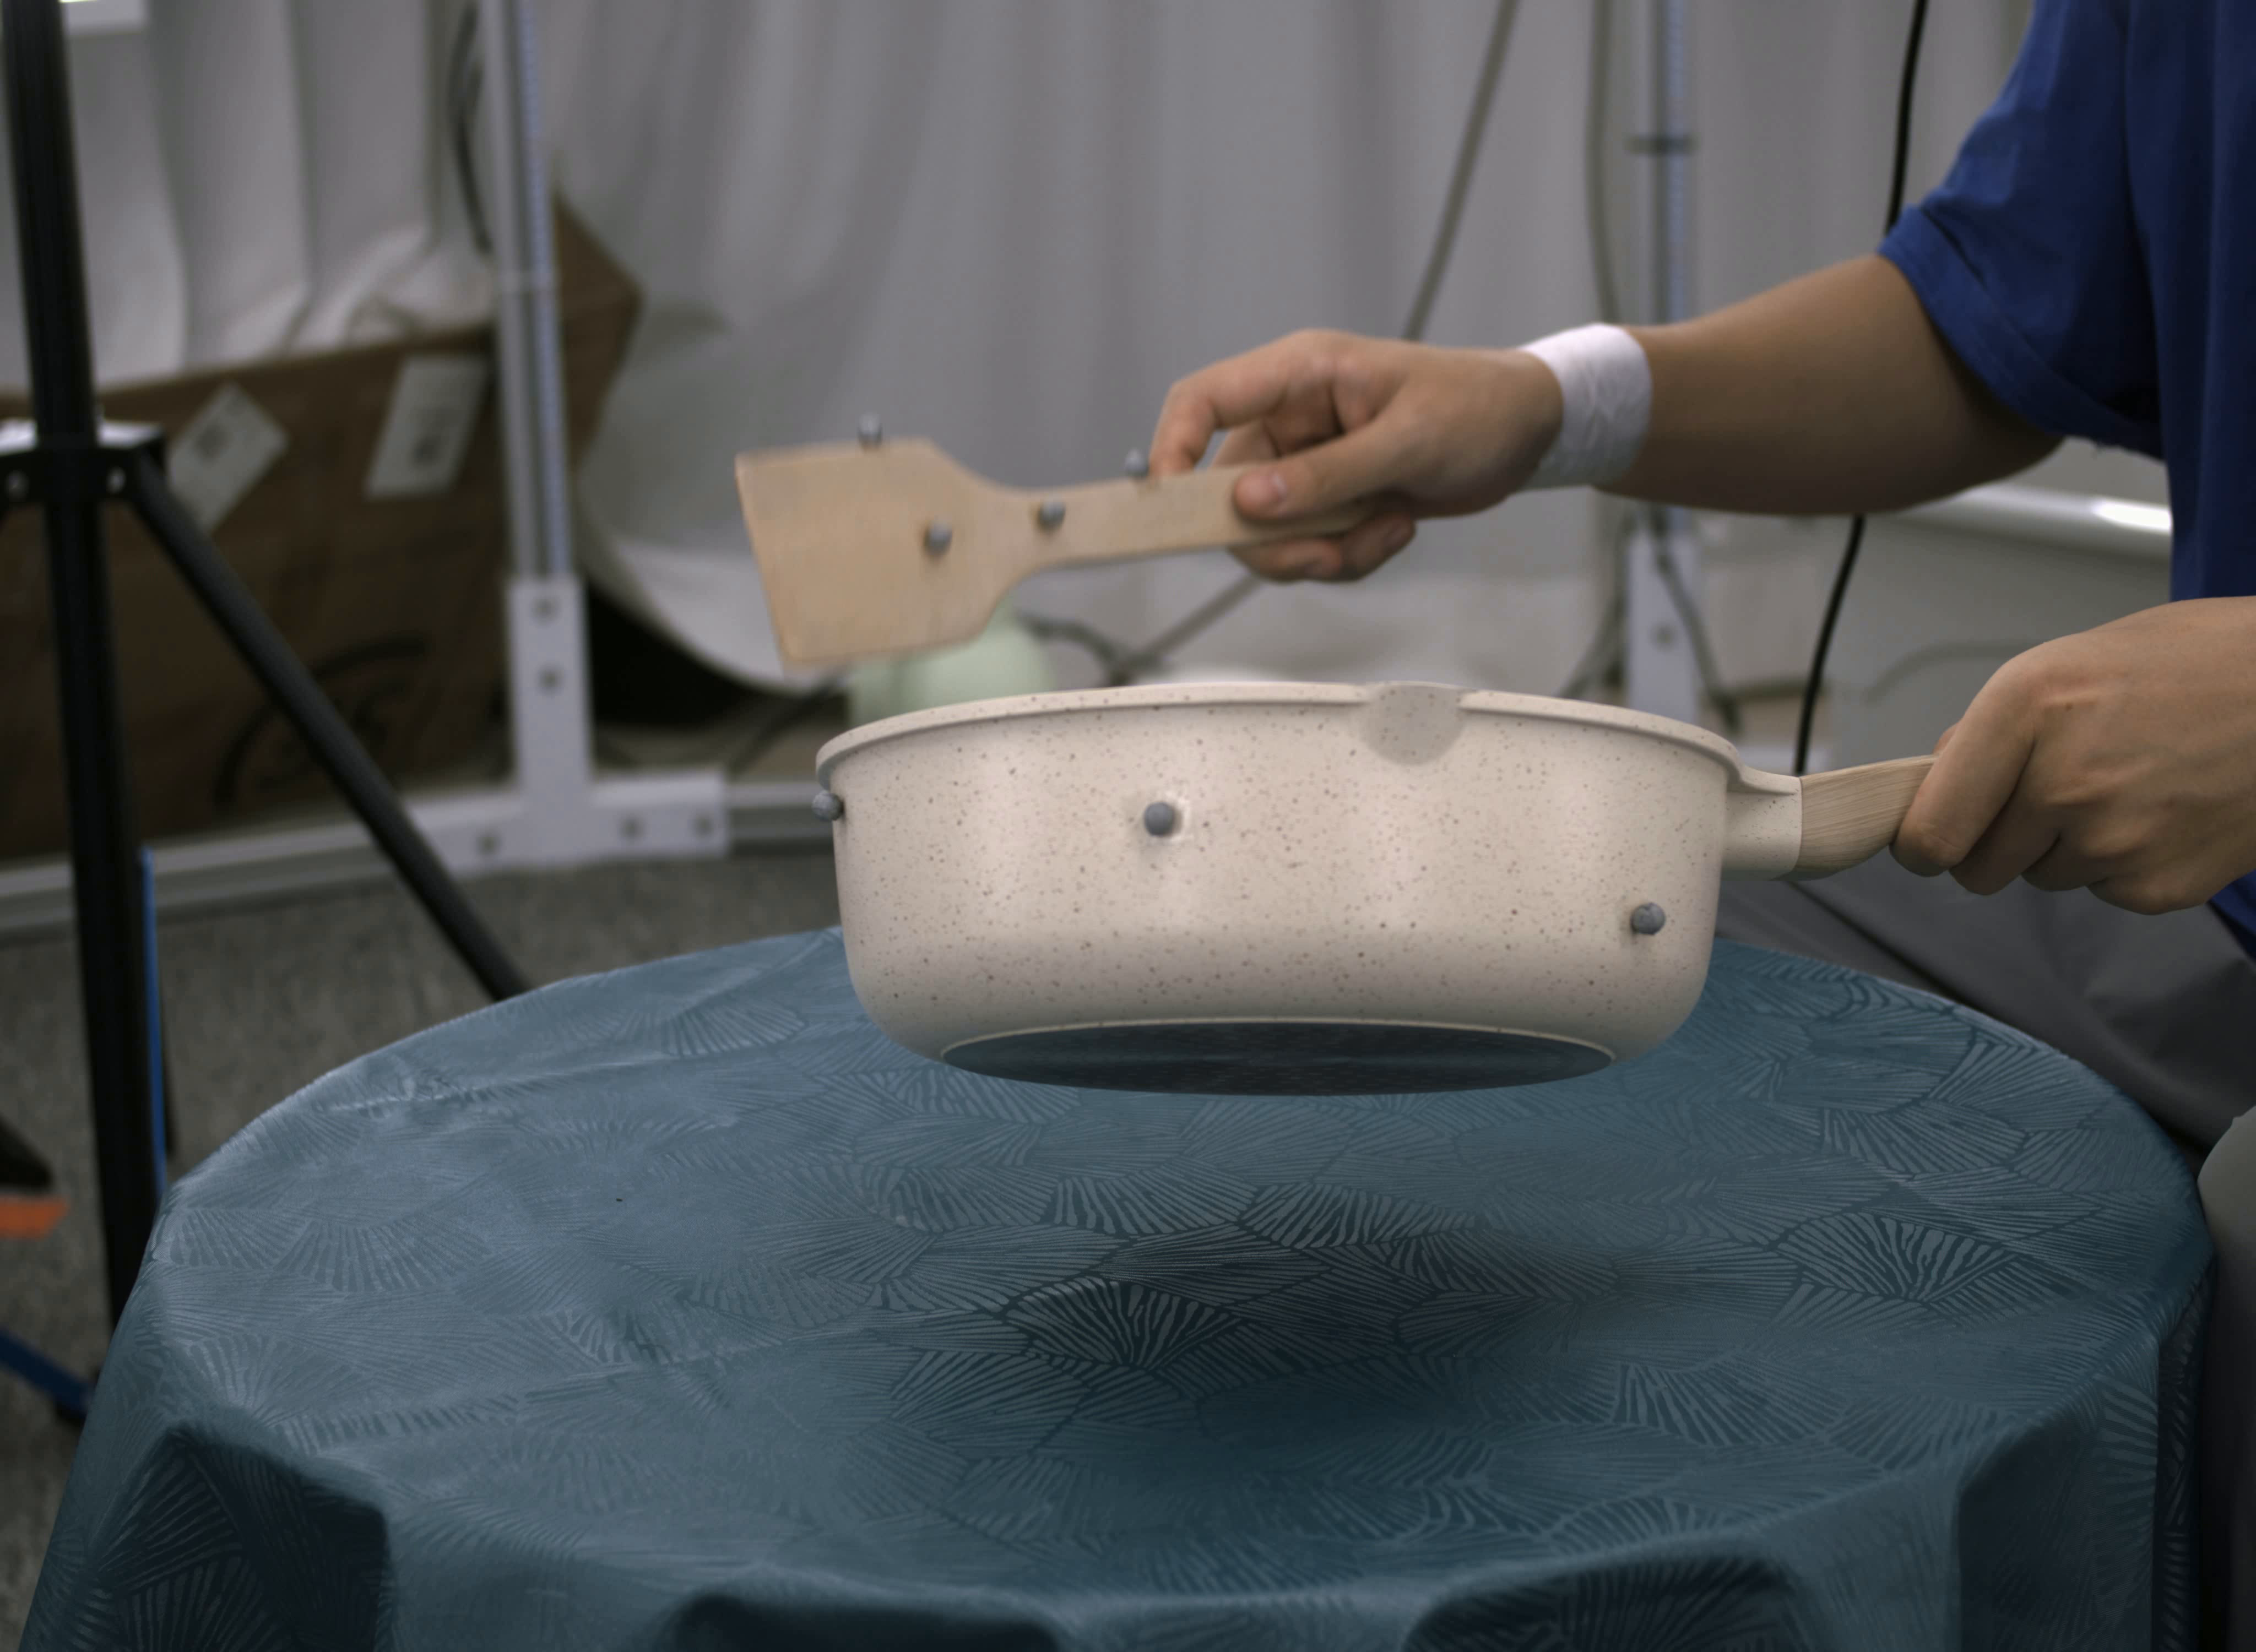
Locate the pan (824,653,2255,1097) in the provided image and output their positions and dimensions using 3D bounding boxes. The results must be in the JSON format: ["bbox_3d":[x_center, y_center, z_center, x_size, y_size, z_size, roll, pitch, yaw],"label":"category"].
[{"bbox_3d":[0.130,0.018,1.449,0.428,0.103,0.265,4,-11,-14],"label":"pan"}]

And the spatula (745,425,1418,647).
[{"bbox_3d":[-0.008,-0.104,1.754,0.286,0.073,0.011,-9,-14,-41],"label":"spatula"}]
